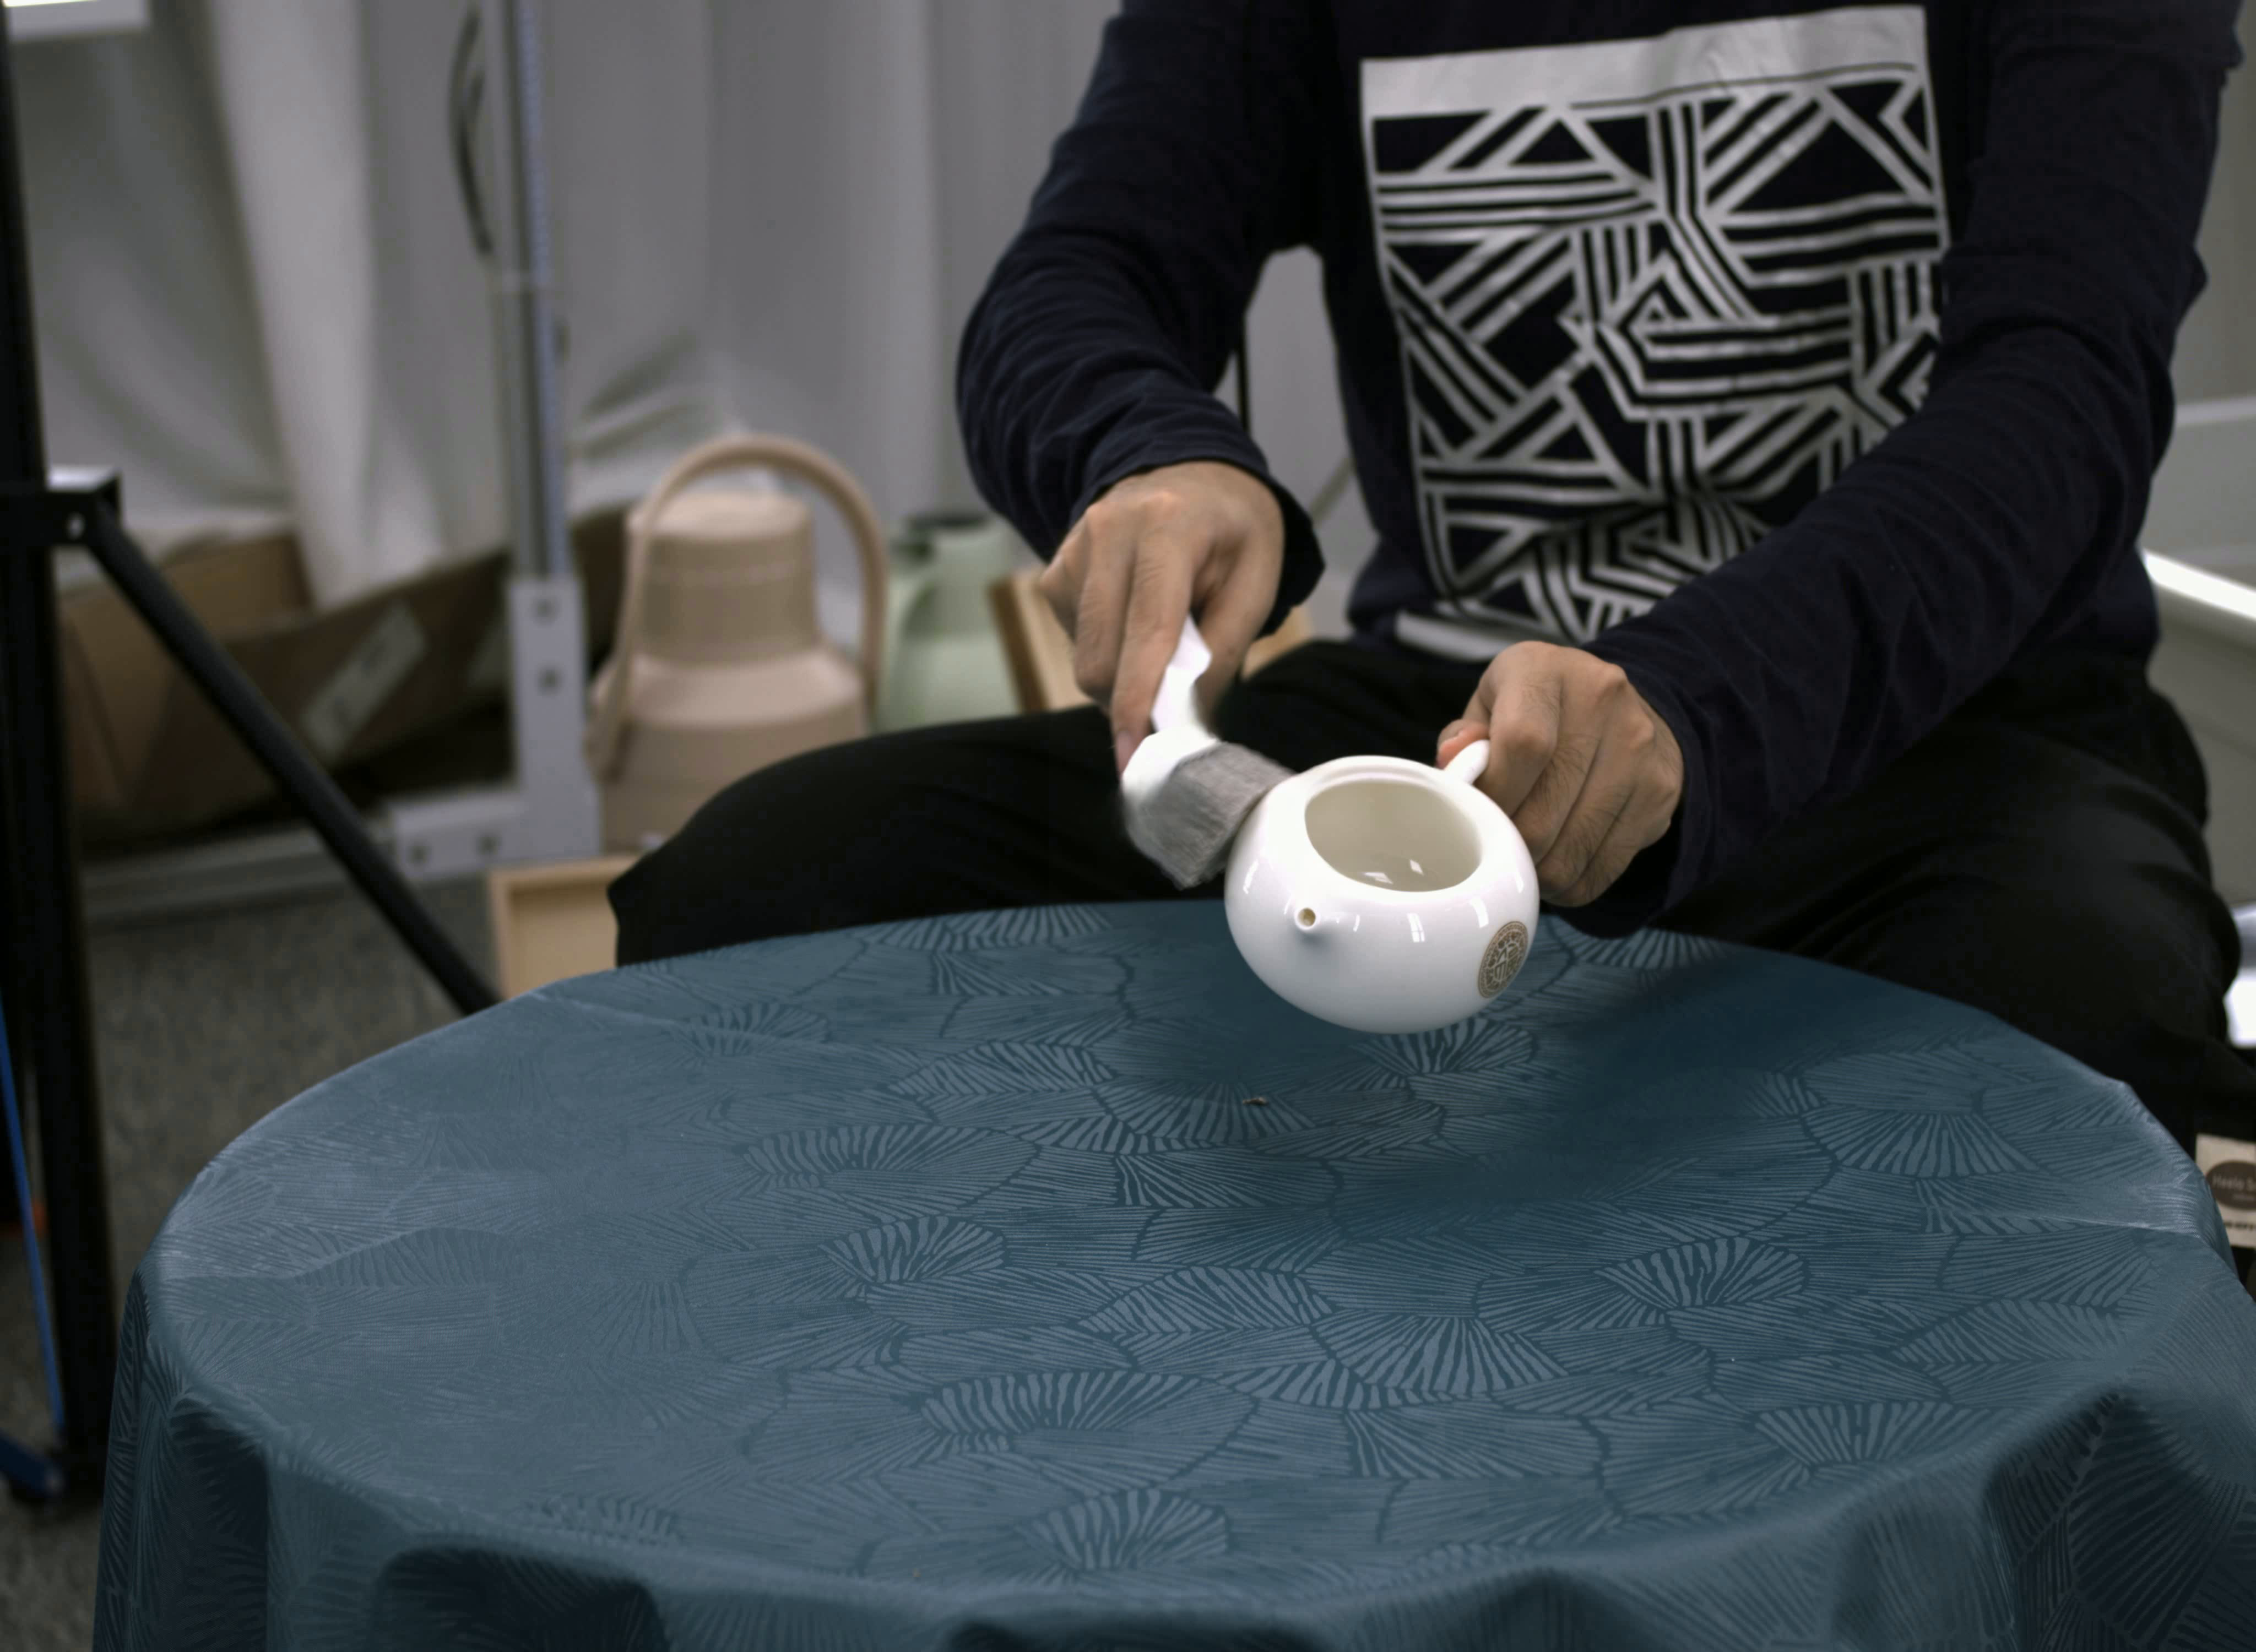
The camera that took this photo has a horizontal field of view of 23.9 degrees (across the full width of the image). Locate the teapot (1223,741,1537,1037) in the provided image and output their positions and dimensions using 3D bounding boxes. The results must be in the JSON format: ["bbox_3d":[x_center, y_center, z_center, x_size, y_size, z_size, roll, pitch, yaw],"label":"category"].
[{"bbox_3d":[0.080,0.016,1.575,0.095,0.056,0.126,21,39,21],"label":"teapot"}]

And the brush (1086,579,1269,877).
[{"bbox_3d":[0.017,-0.033,1.667,0.050,0.034,0.244,26,14,-6],"label":"brush"}]
